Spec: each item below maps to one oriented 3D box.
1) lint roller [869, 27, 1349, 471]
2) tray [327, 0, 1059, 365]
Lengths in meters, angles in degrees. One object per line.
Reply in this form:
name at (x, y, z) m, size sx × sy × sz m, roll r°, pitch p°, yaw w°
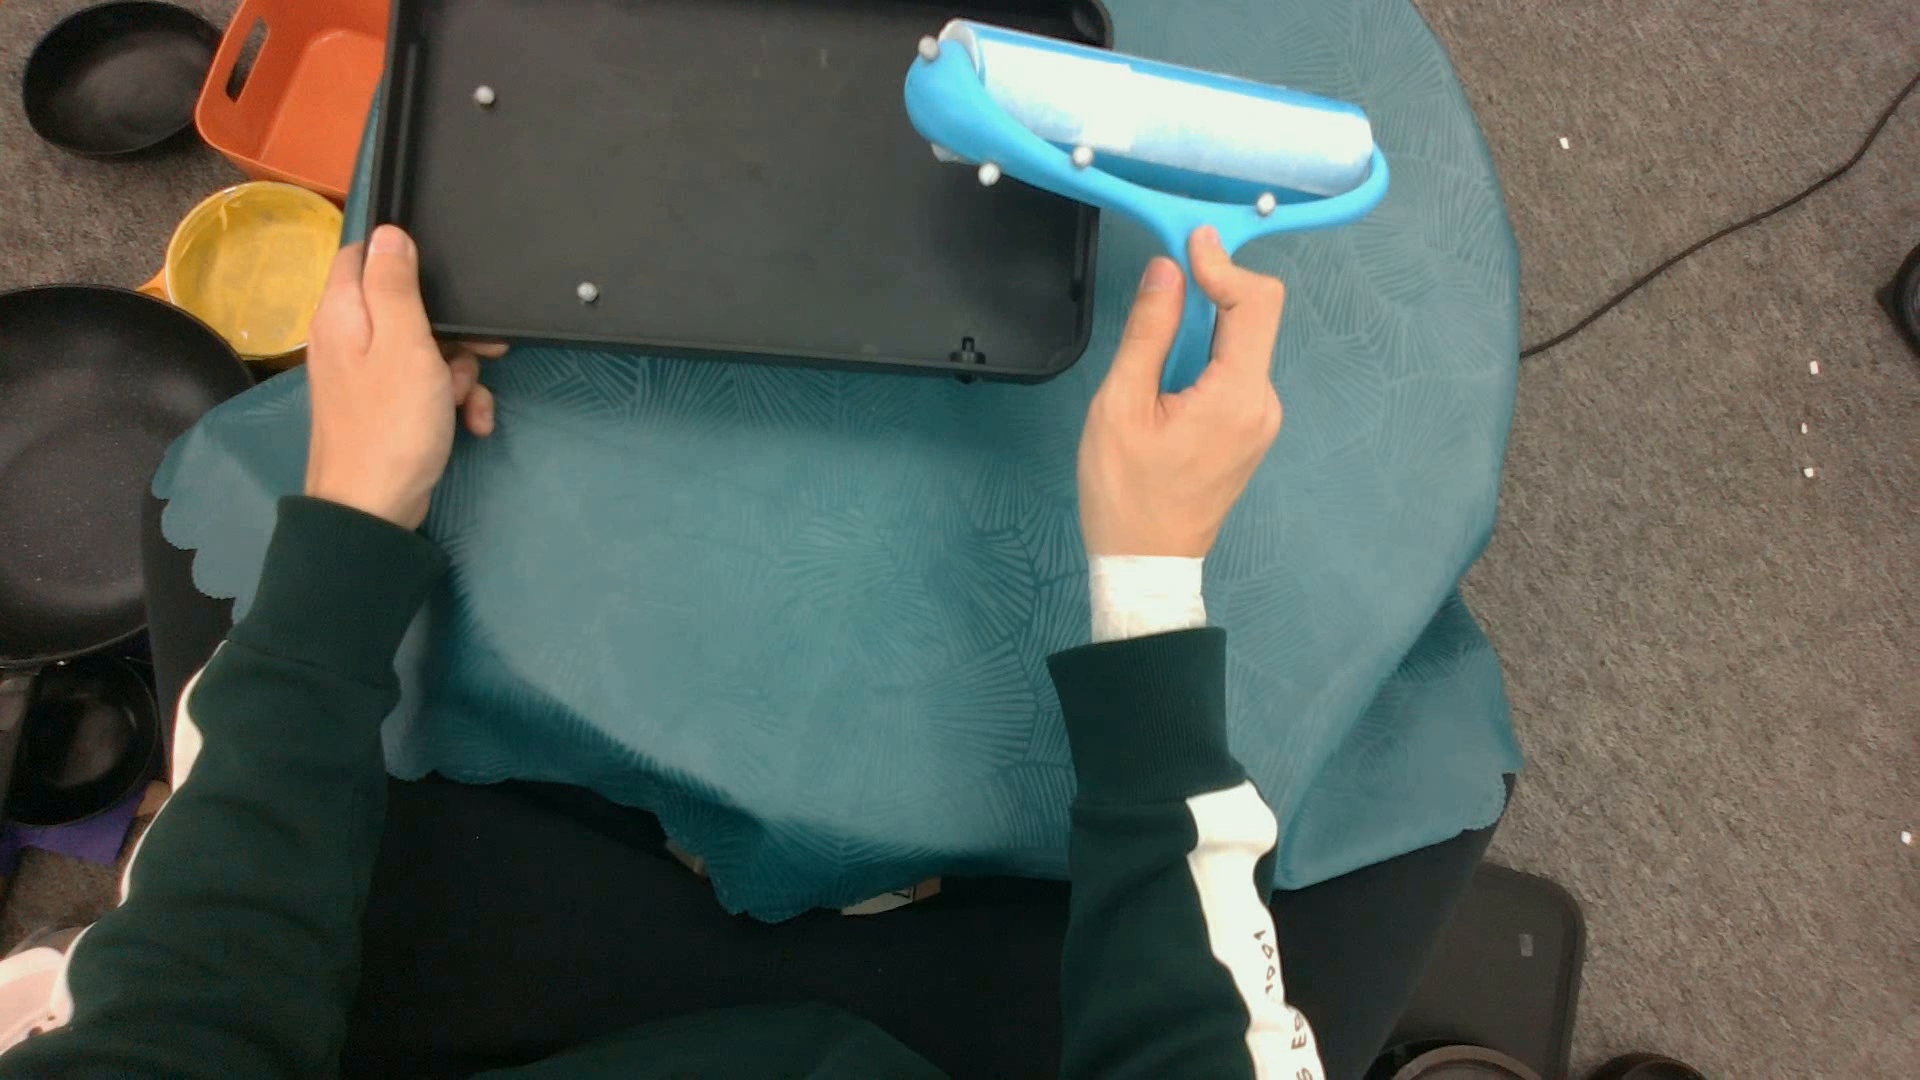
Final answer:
lint roller at (0.077, -0.124, 0.590) m, size 0.229 × 0.067 × 0.180 m, roll -3°, pitch 78°, yaw -27°
tray at (-0.115, -0.174, 0.625) m, size 0.318 × 0.037 × 0.184 m, roll 0°, pitch 87°, yaw -6°
